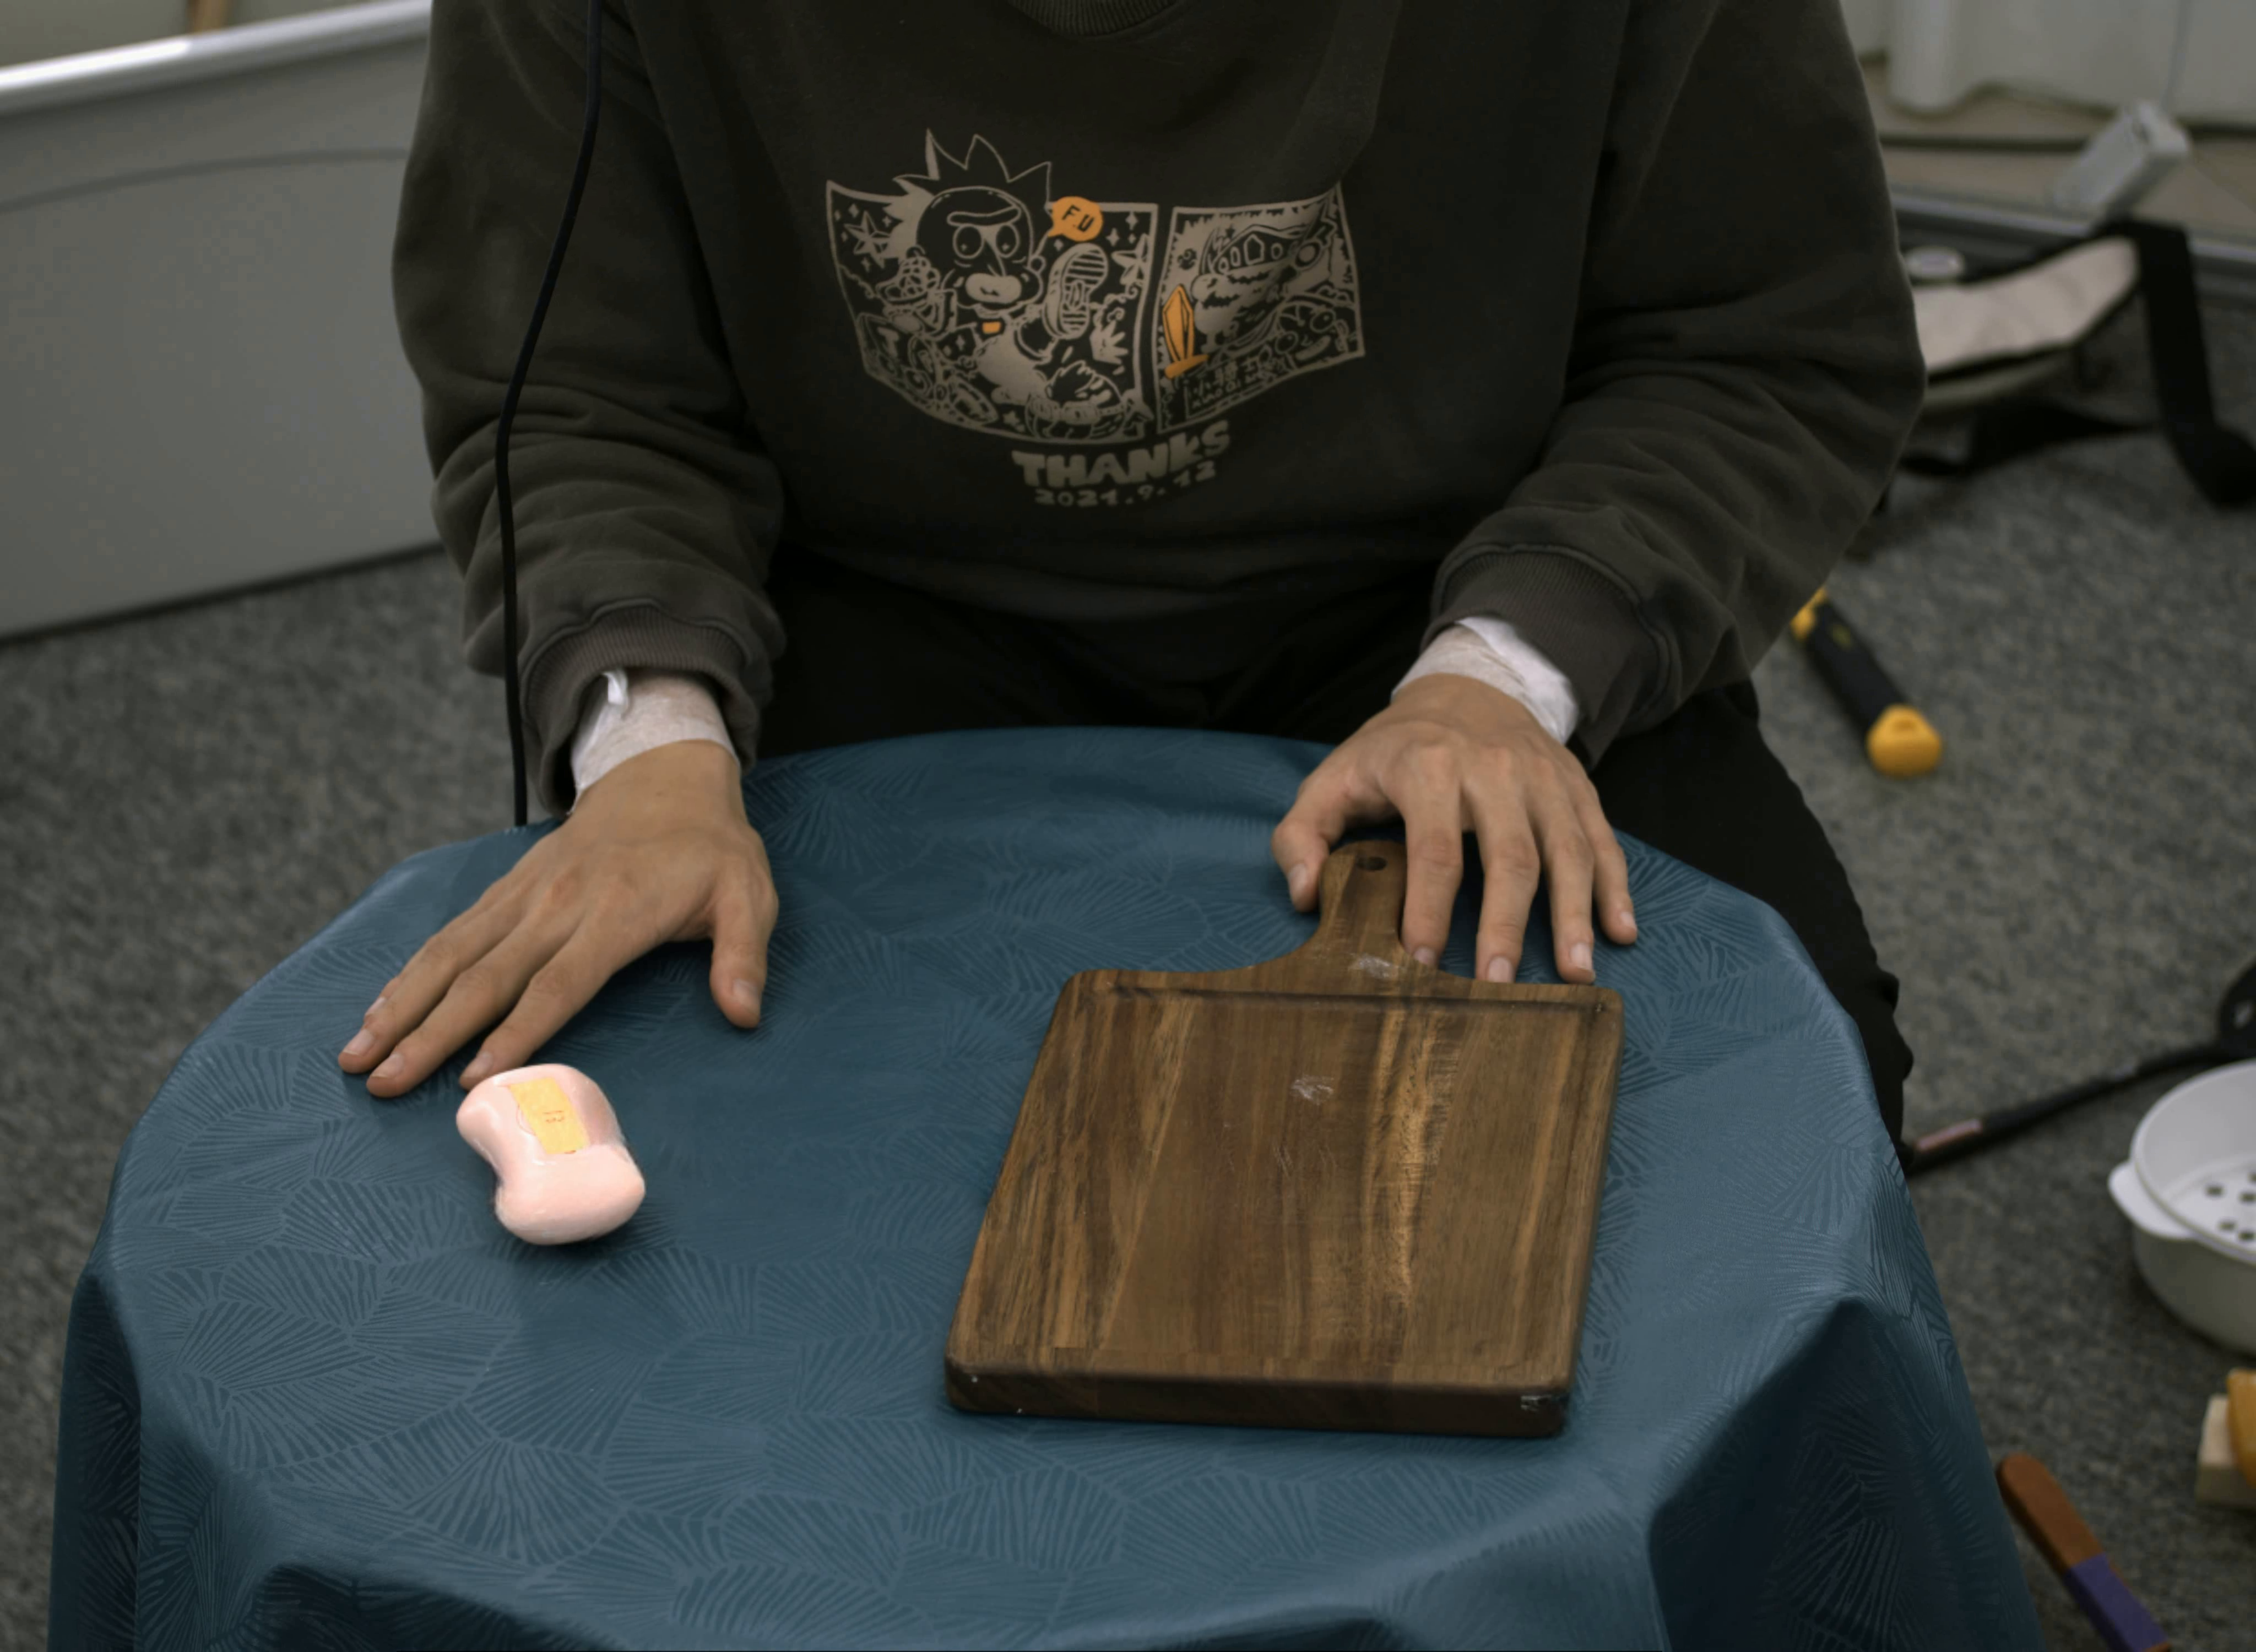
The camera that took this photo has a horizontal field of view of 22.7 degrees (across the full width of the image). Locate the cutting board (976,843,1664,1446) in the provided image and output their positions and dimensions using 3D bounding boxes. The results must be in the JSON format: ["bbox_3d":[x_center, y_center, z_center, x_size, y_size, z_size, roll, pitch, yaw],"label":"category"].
[{"bbox_3d":[0.076,0.097,1.877,0.200,0.023,0.358,2,28,10],"label":"cutting board"}]

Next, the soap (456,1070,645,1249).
[{"bbox_3d":[-0.193,0.111,1.870,0.050,0.030,0.095,-10,27,-15],"label":"soap"}]
